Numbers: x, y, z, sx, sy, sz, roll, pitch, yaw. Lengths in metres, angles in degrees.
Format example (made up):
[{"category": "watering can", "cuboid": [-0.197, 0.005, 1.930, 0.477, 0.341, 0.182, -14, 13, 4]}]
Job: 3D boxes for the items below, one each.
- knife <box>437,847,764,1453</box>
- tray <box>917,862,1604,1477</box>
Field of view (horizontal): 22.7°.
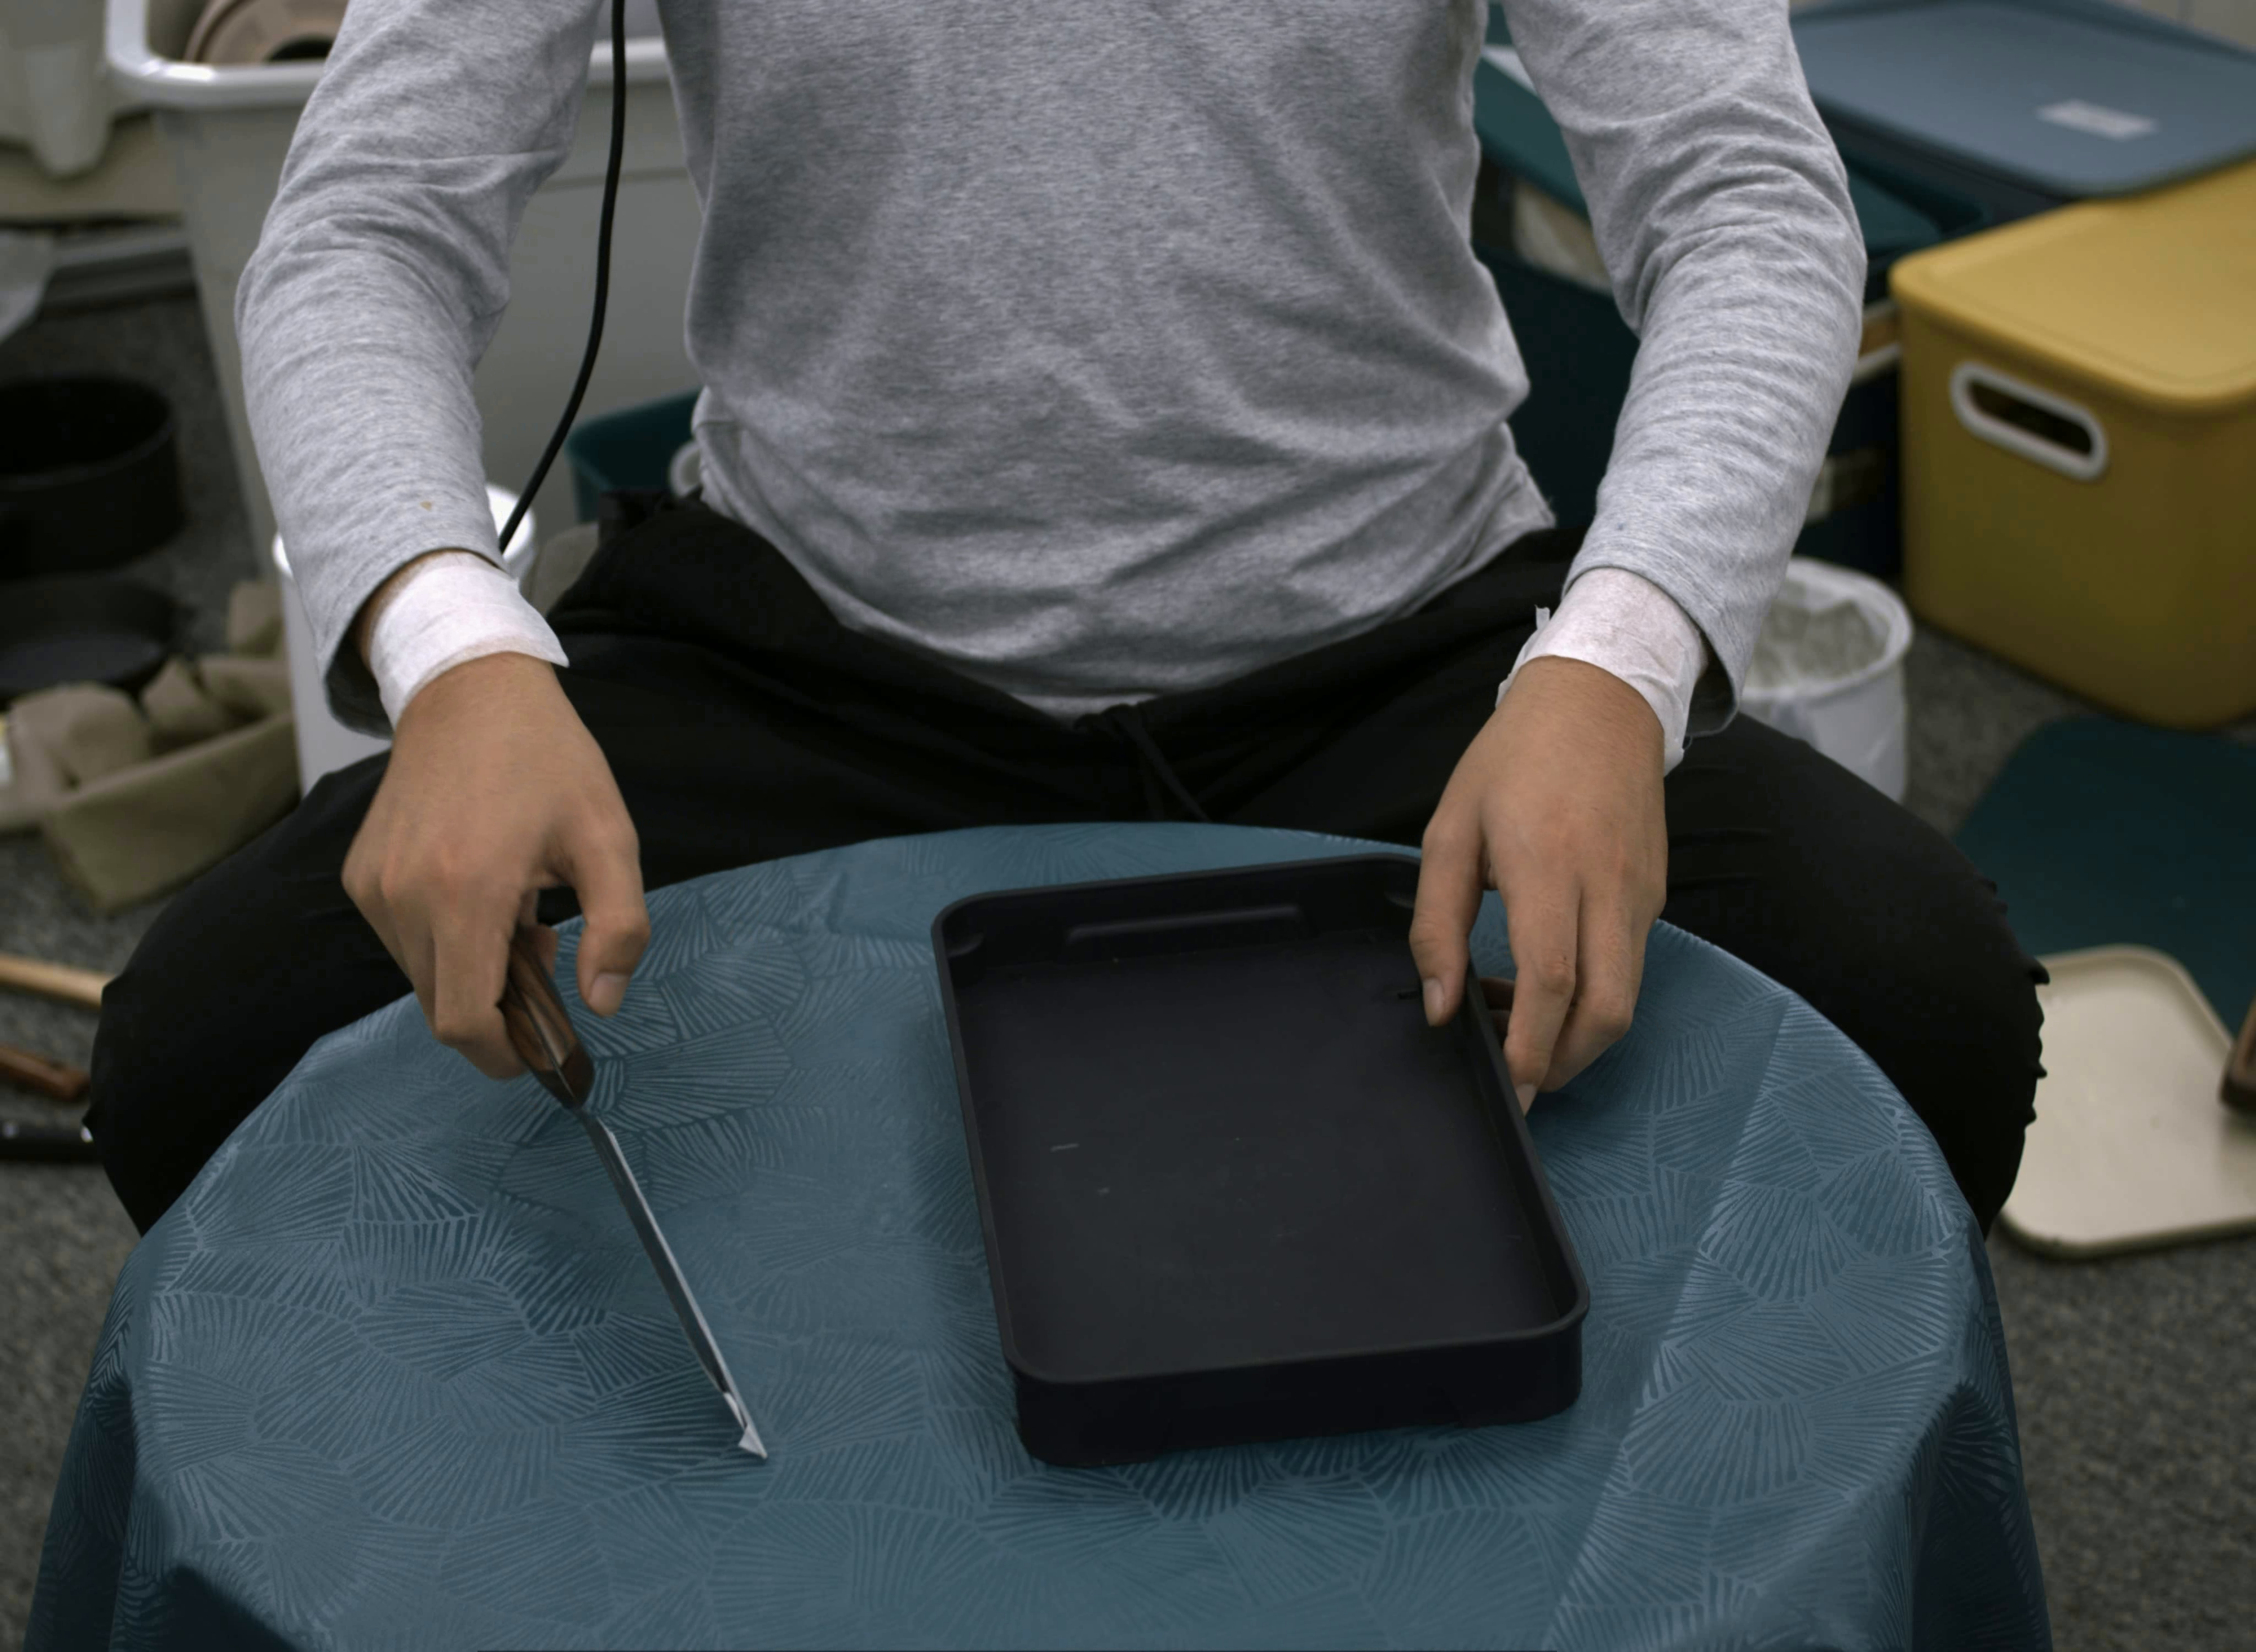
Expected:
[{"category": "knife", "cuboid": [-0.171, 0.102, 1.821, 0.020, 0.050, 0.292, -33, 46, 1]}, {"category": "tray", "cuboid": [0.037, 0.107, 1.849, 0.184, 0.036, 0.322, -6, 27, -6]}]
